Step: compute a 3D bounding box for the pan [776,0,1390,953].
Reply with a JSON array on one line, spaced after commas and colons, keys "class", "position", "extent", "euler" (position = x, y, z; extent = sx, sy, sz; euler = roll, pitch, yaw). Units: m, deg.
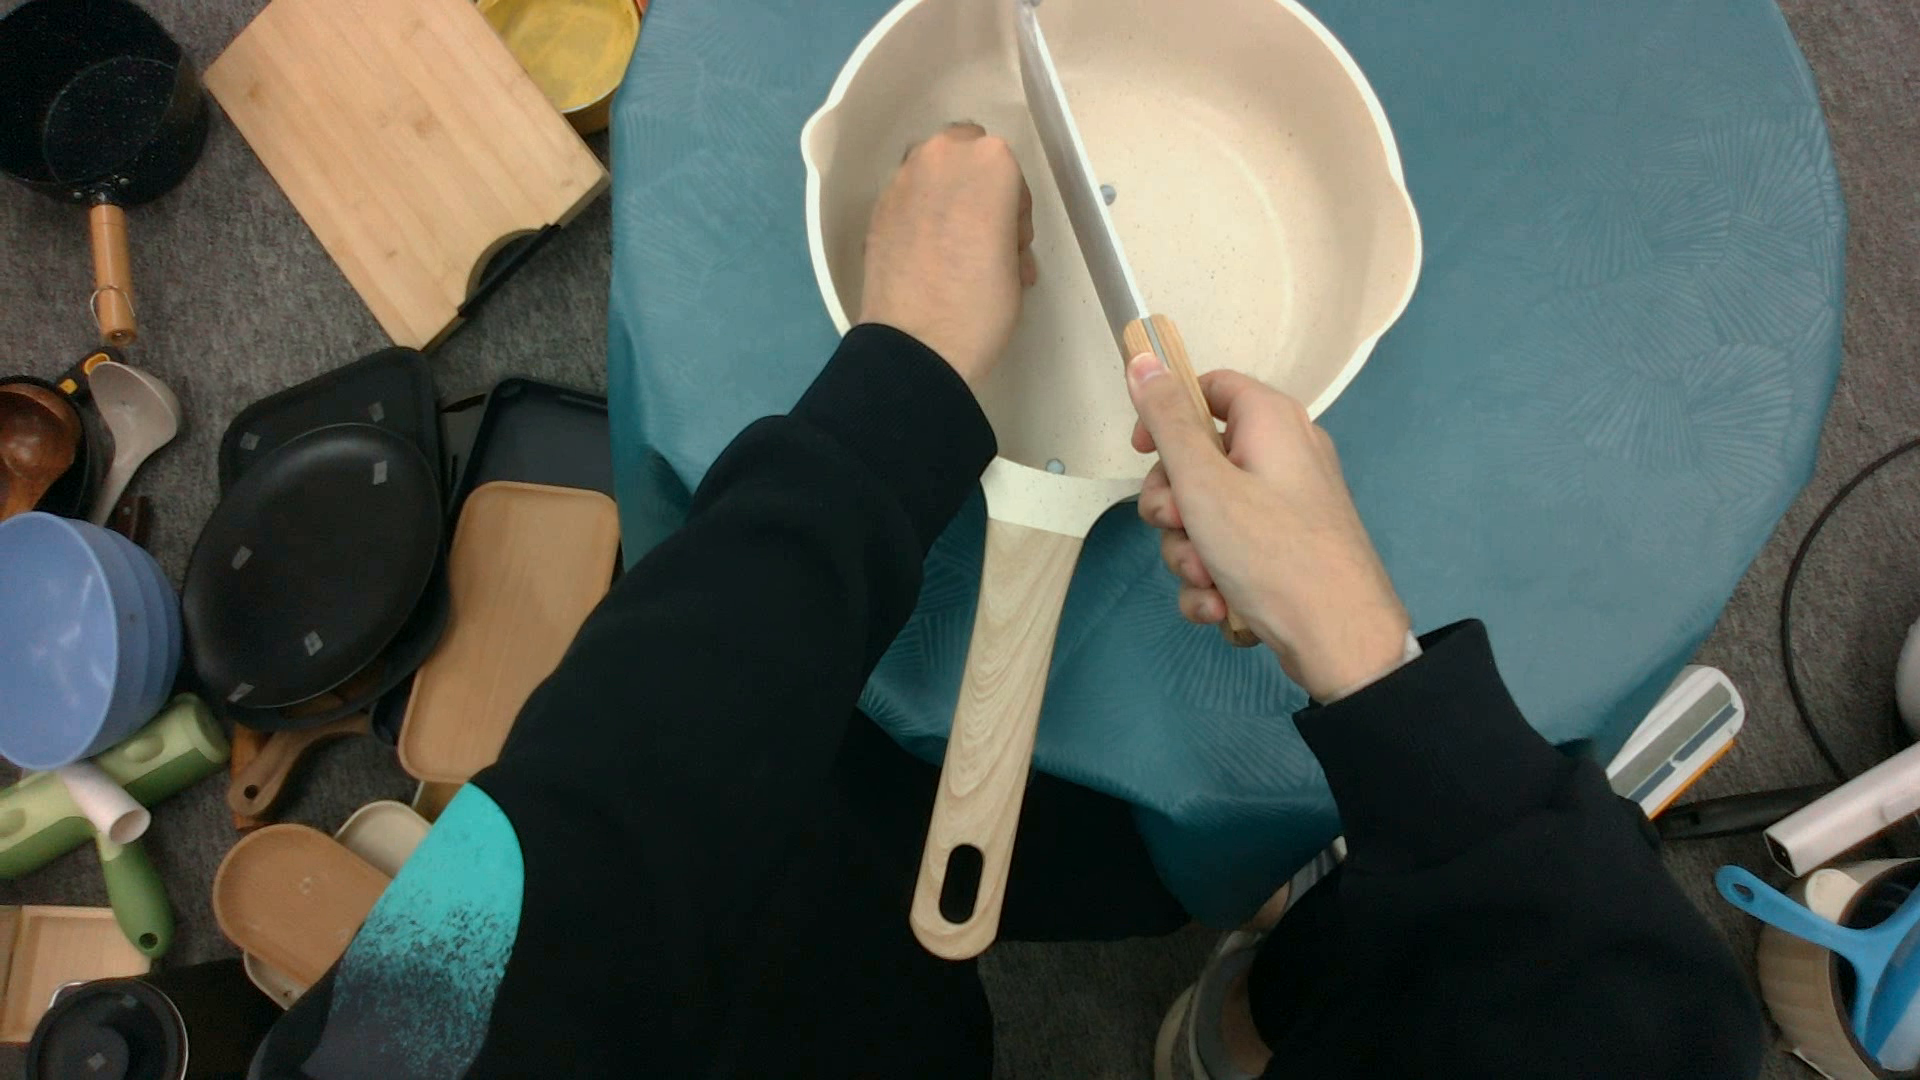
[{"class": "pan", "position": [0.033, -0.051, 0.588], "extent": [0.263, 0.102, 0.436], "euler": [11, 77, -1]}]

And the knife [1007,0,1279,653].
[{"class": "knife", "position": [0.063, -0.099, 0.559], "extent": [0.022, 0.113, 0.316], "euler": [-17, 65, 0]}]
